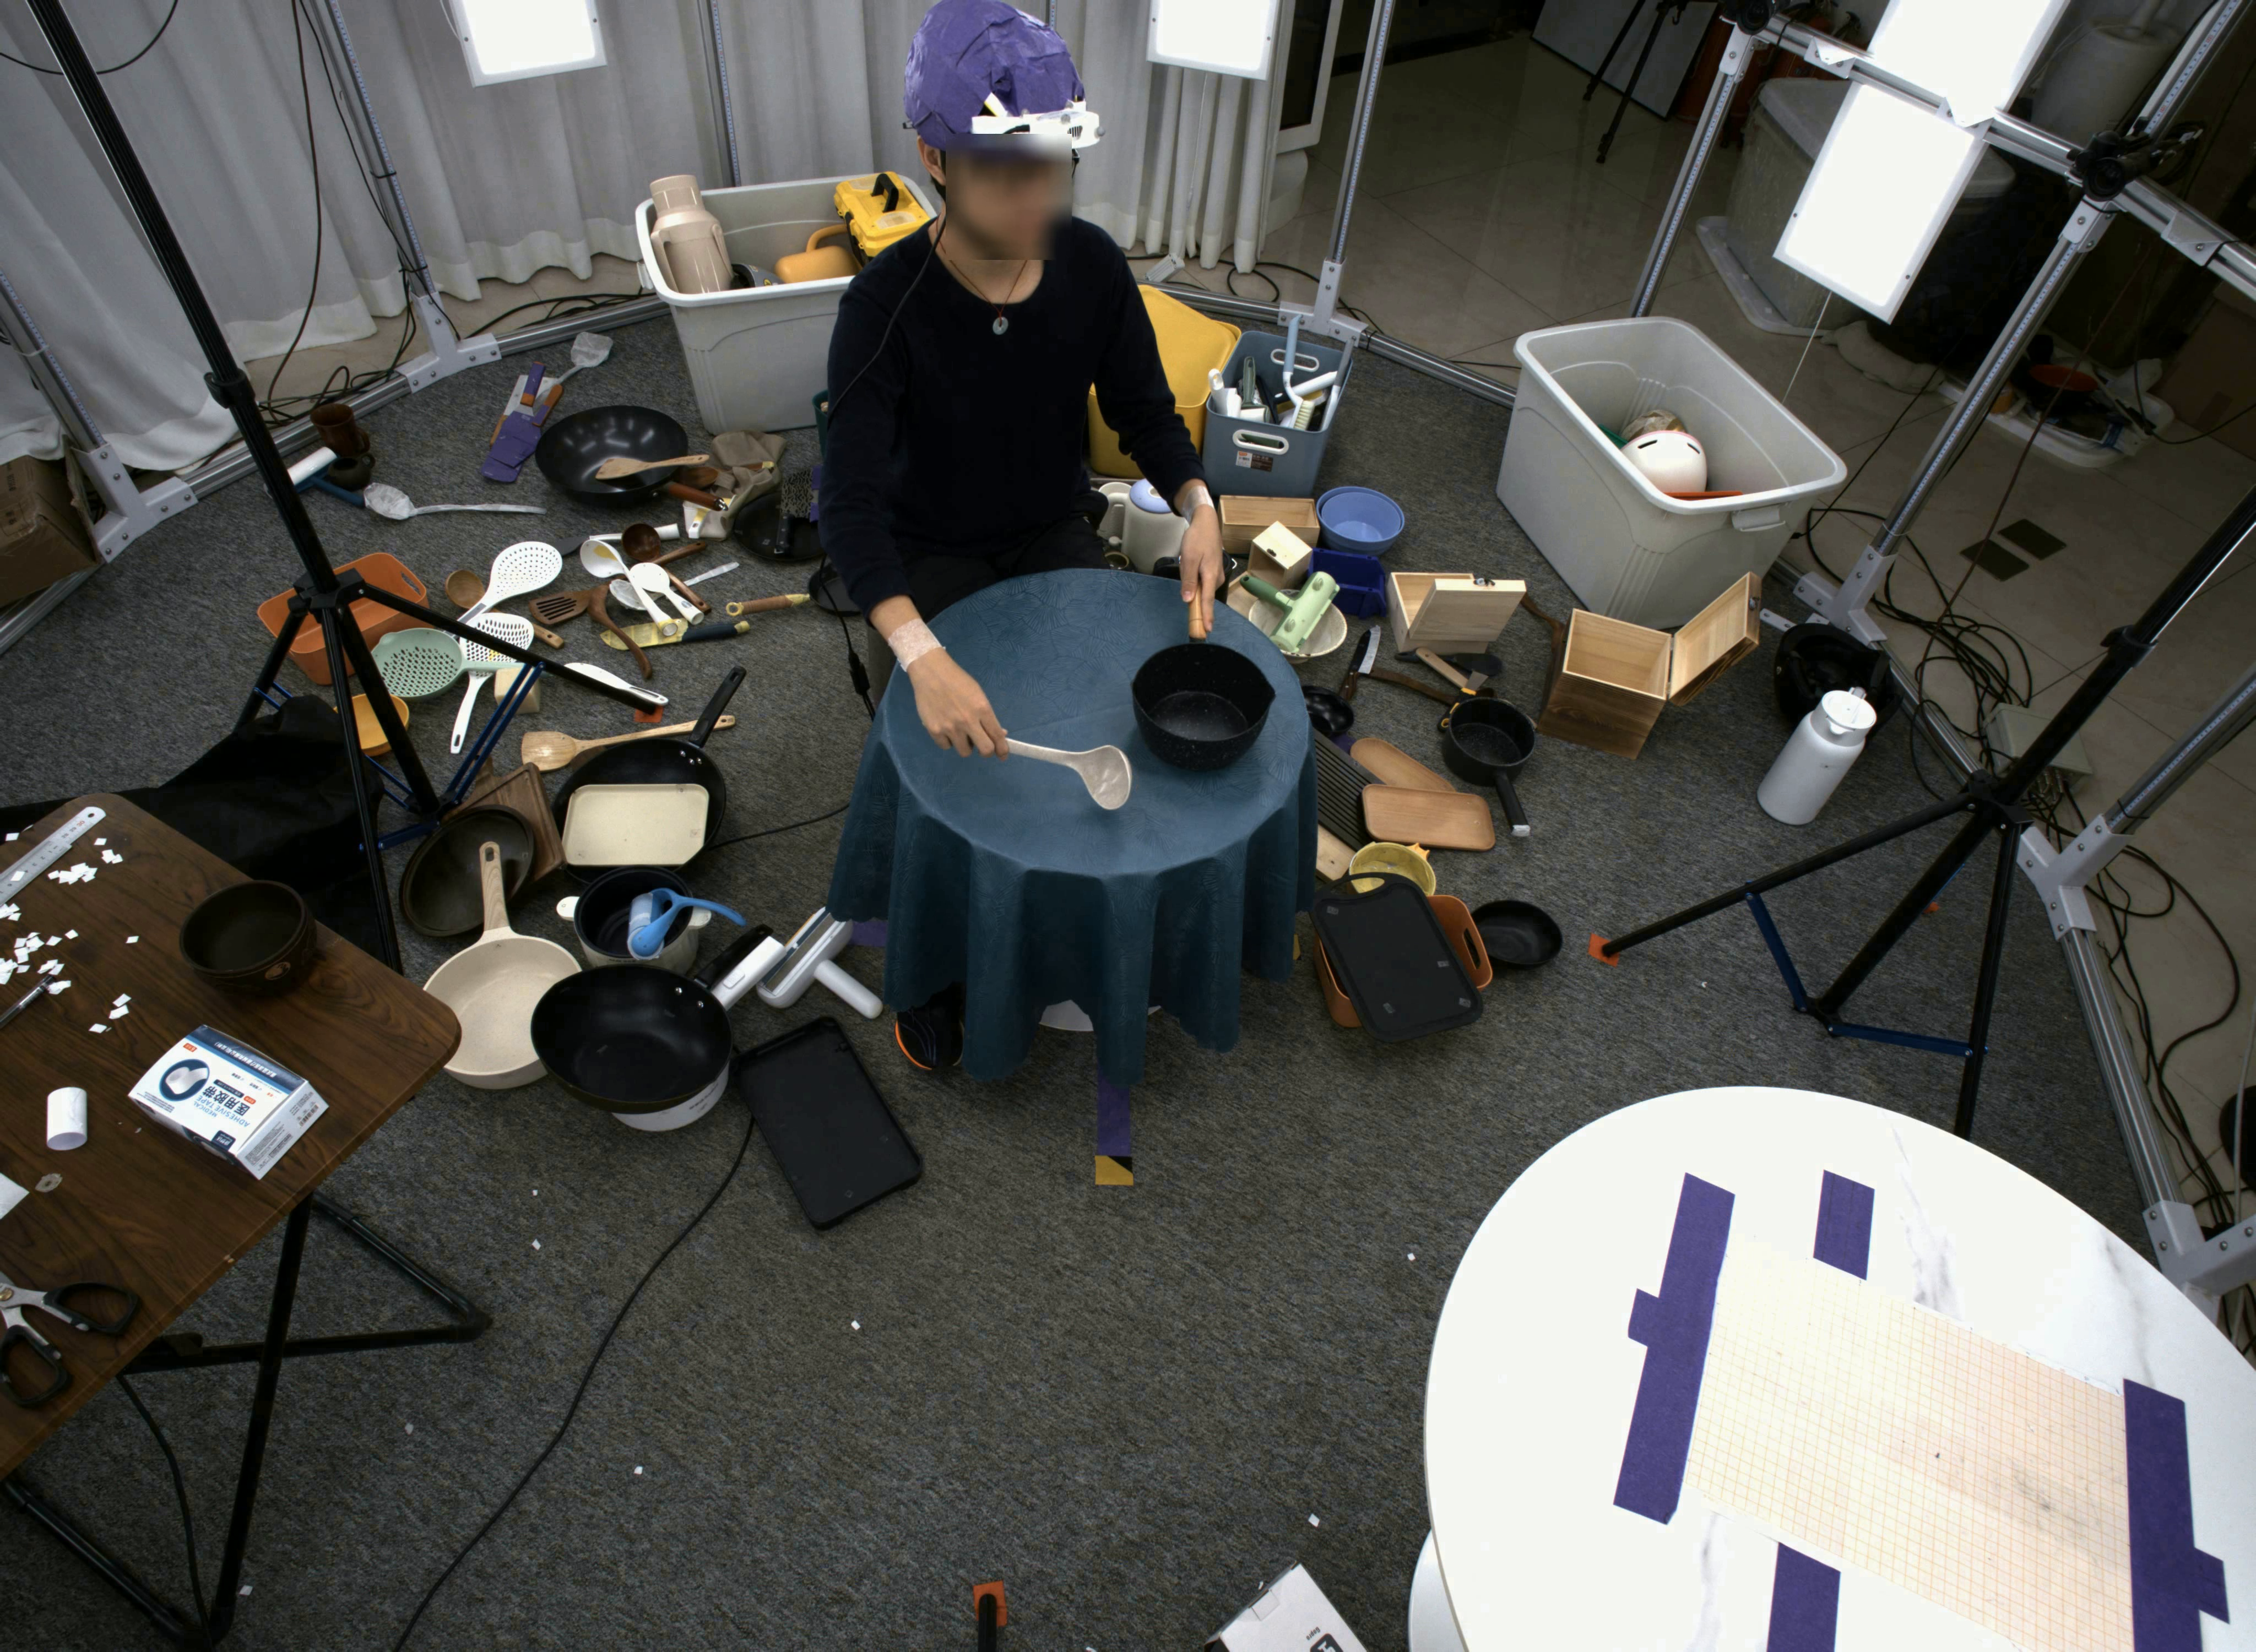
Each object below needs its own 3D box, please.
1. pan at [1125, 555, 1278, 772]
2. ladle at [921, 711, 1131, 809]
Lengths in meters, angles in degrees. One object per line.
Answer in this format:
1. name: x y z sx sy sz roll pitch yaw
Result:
1. pan: 0.096 -0.228 1.799 0.207 0.105 0.351 0 52 -3
2. ladle: -0.129 -0.088 1.621 0.274 0.087 0.071 13 43 -10
